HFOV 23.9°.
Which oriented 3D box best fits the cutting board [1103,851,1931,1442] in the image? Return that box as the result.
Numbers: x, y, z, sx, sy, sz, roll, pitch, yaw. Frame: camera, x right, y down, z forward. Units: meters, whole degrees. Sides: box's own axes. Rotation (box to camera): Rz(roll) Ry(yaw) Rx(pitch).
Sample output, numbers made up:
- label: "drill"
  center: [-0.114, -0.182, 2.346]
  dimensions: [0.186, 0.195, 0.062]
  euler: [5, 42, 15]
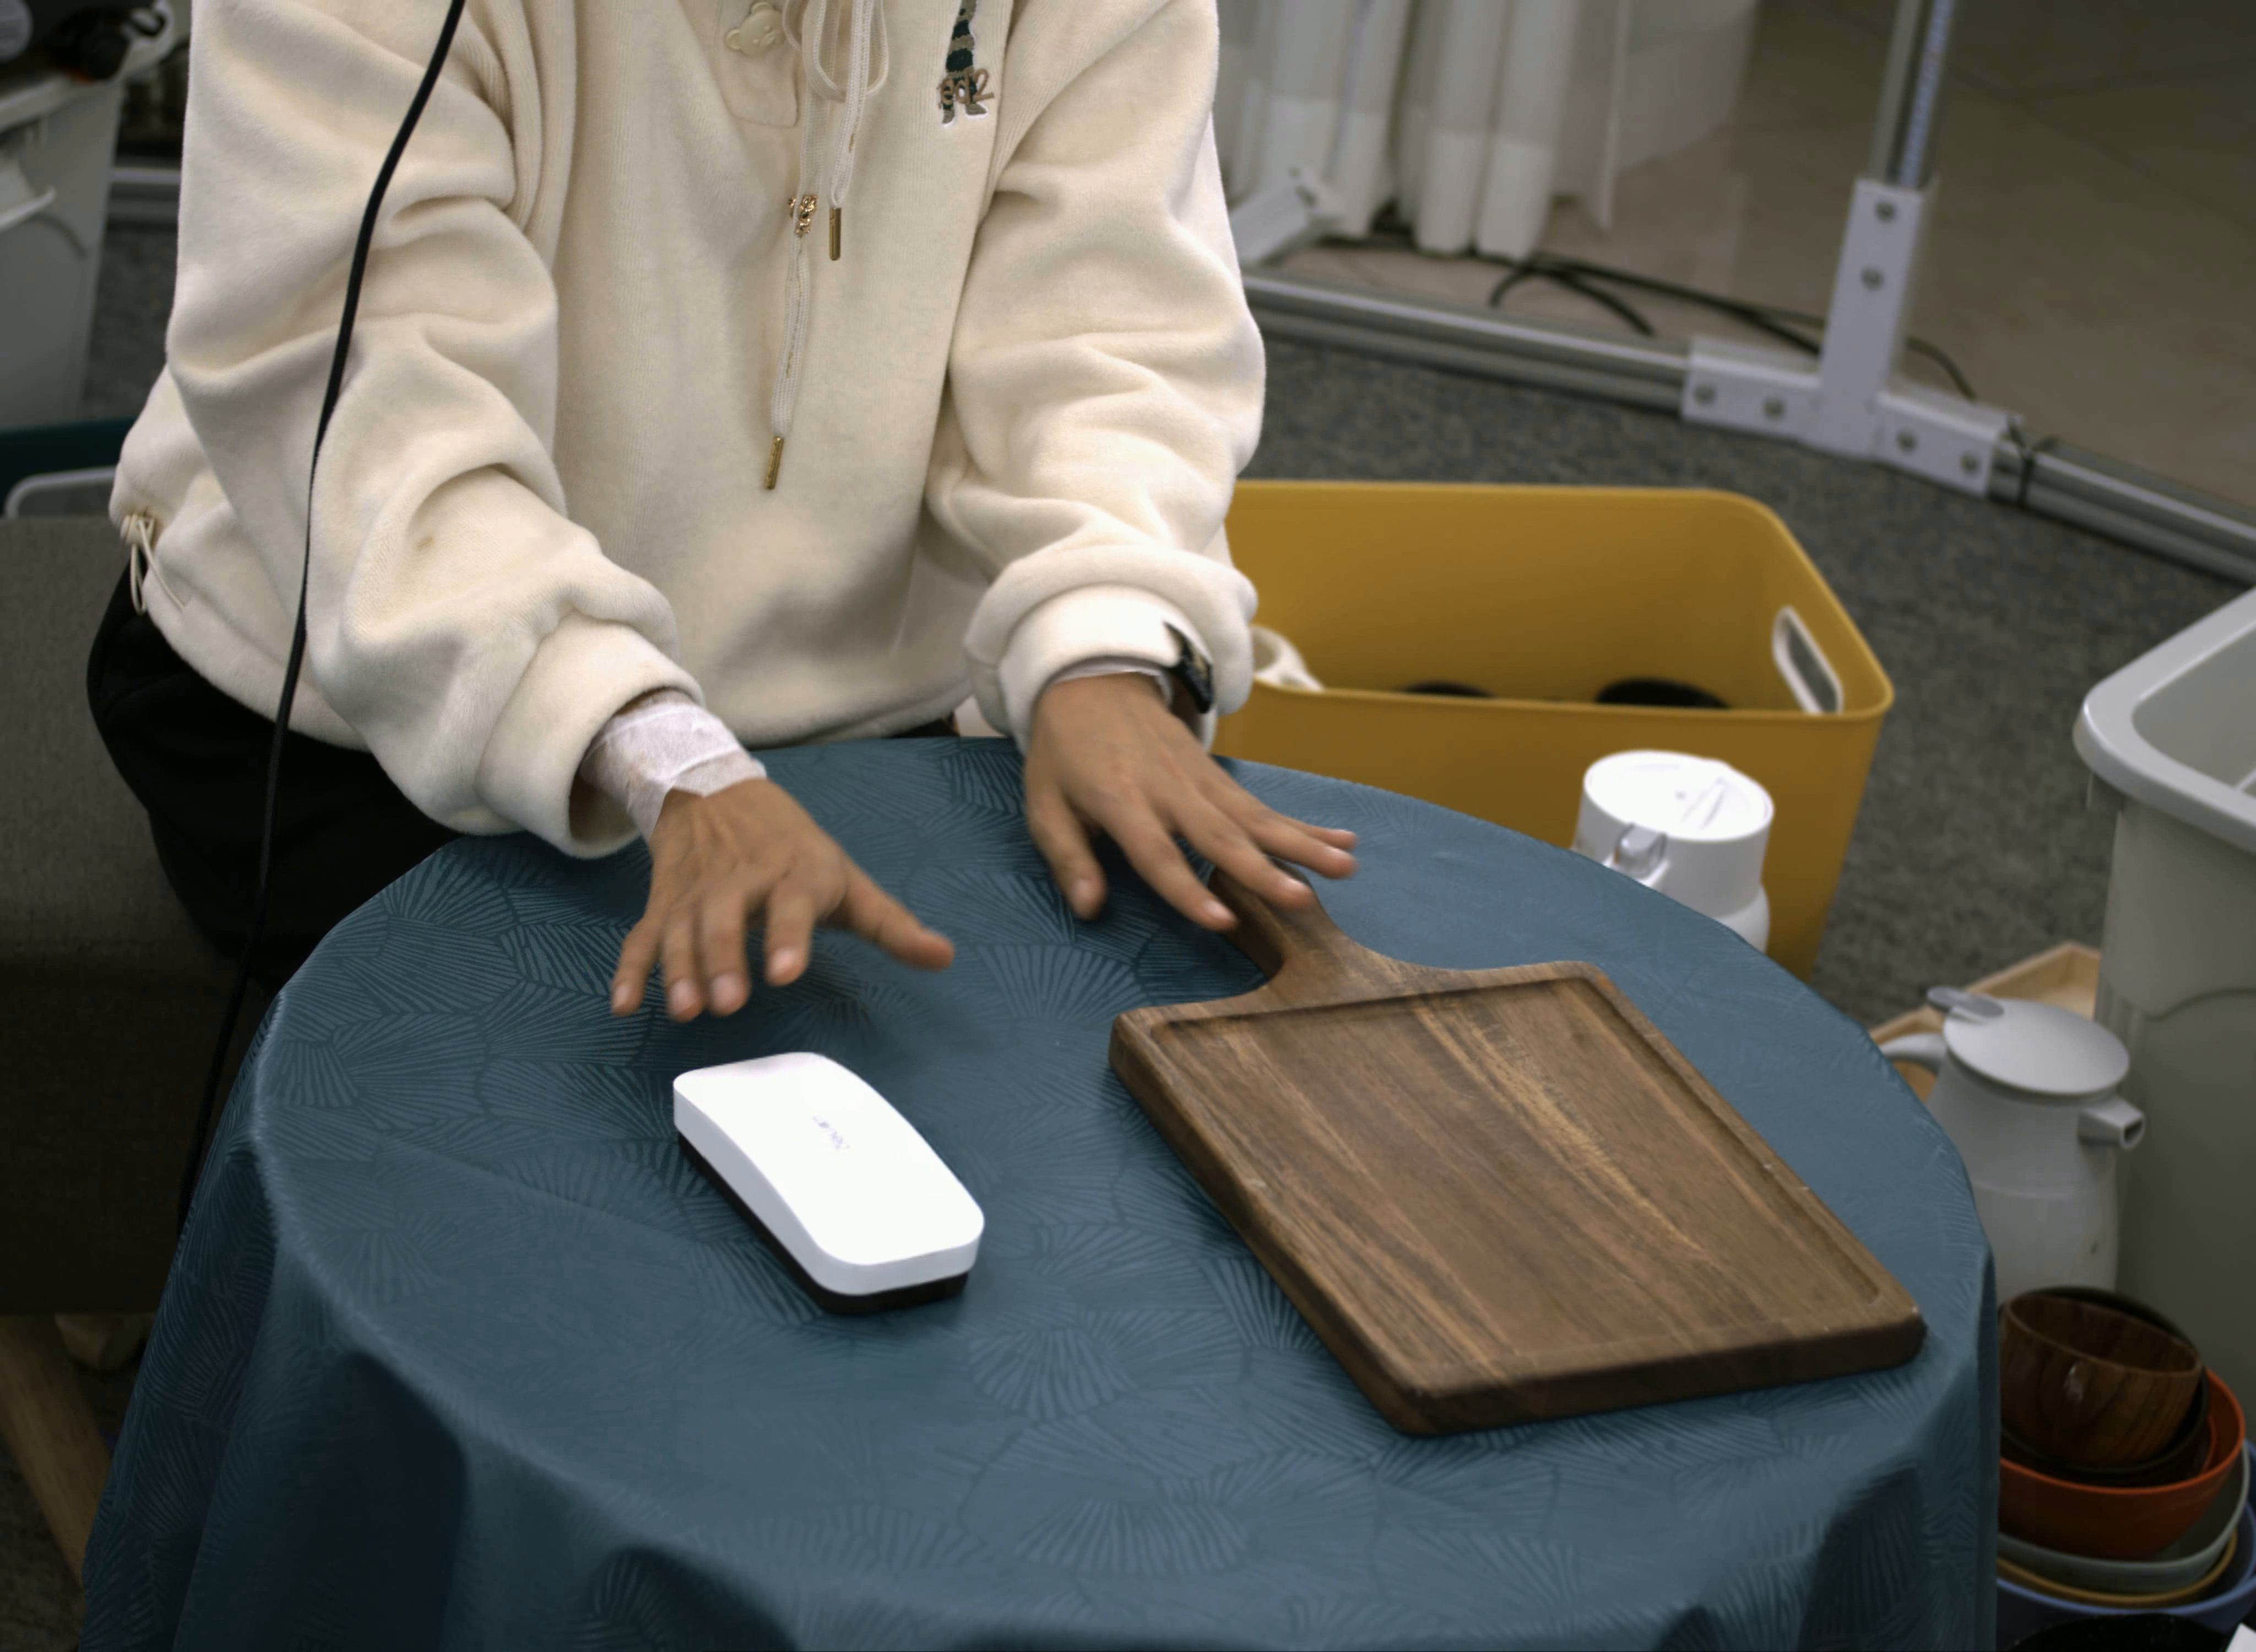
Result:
- label: "cutting board"
  center: [0.109, 0.099, 1.852]
  dimensions: [0.200, 0.023, 0.355]
  euler: [-6, 29, -23]

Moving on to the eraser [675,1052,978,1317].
- label: "eraser"
  center: [-0.100, 0.115, 1.763]
  dimensions: [0.063, 0.034, 0.132]
  euler: [-9, 31, -27]
